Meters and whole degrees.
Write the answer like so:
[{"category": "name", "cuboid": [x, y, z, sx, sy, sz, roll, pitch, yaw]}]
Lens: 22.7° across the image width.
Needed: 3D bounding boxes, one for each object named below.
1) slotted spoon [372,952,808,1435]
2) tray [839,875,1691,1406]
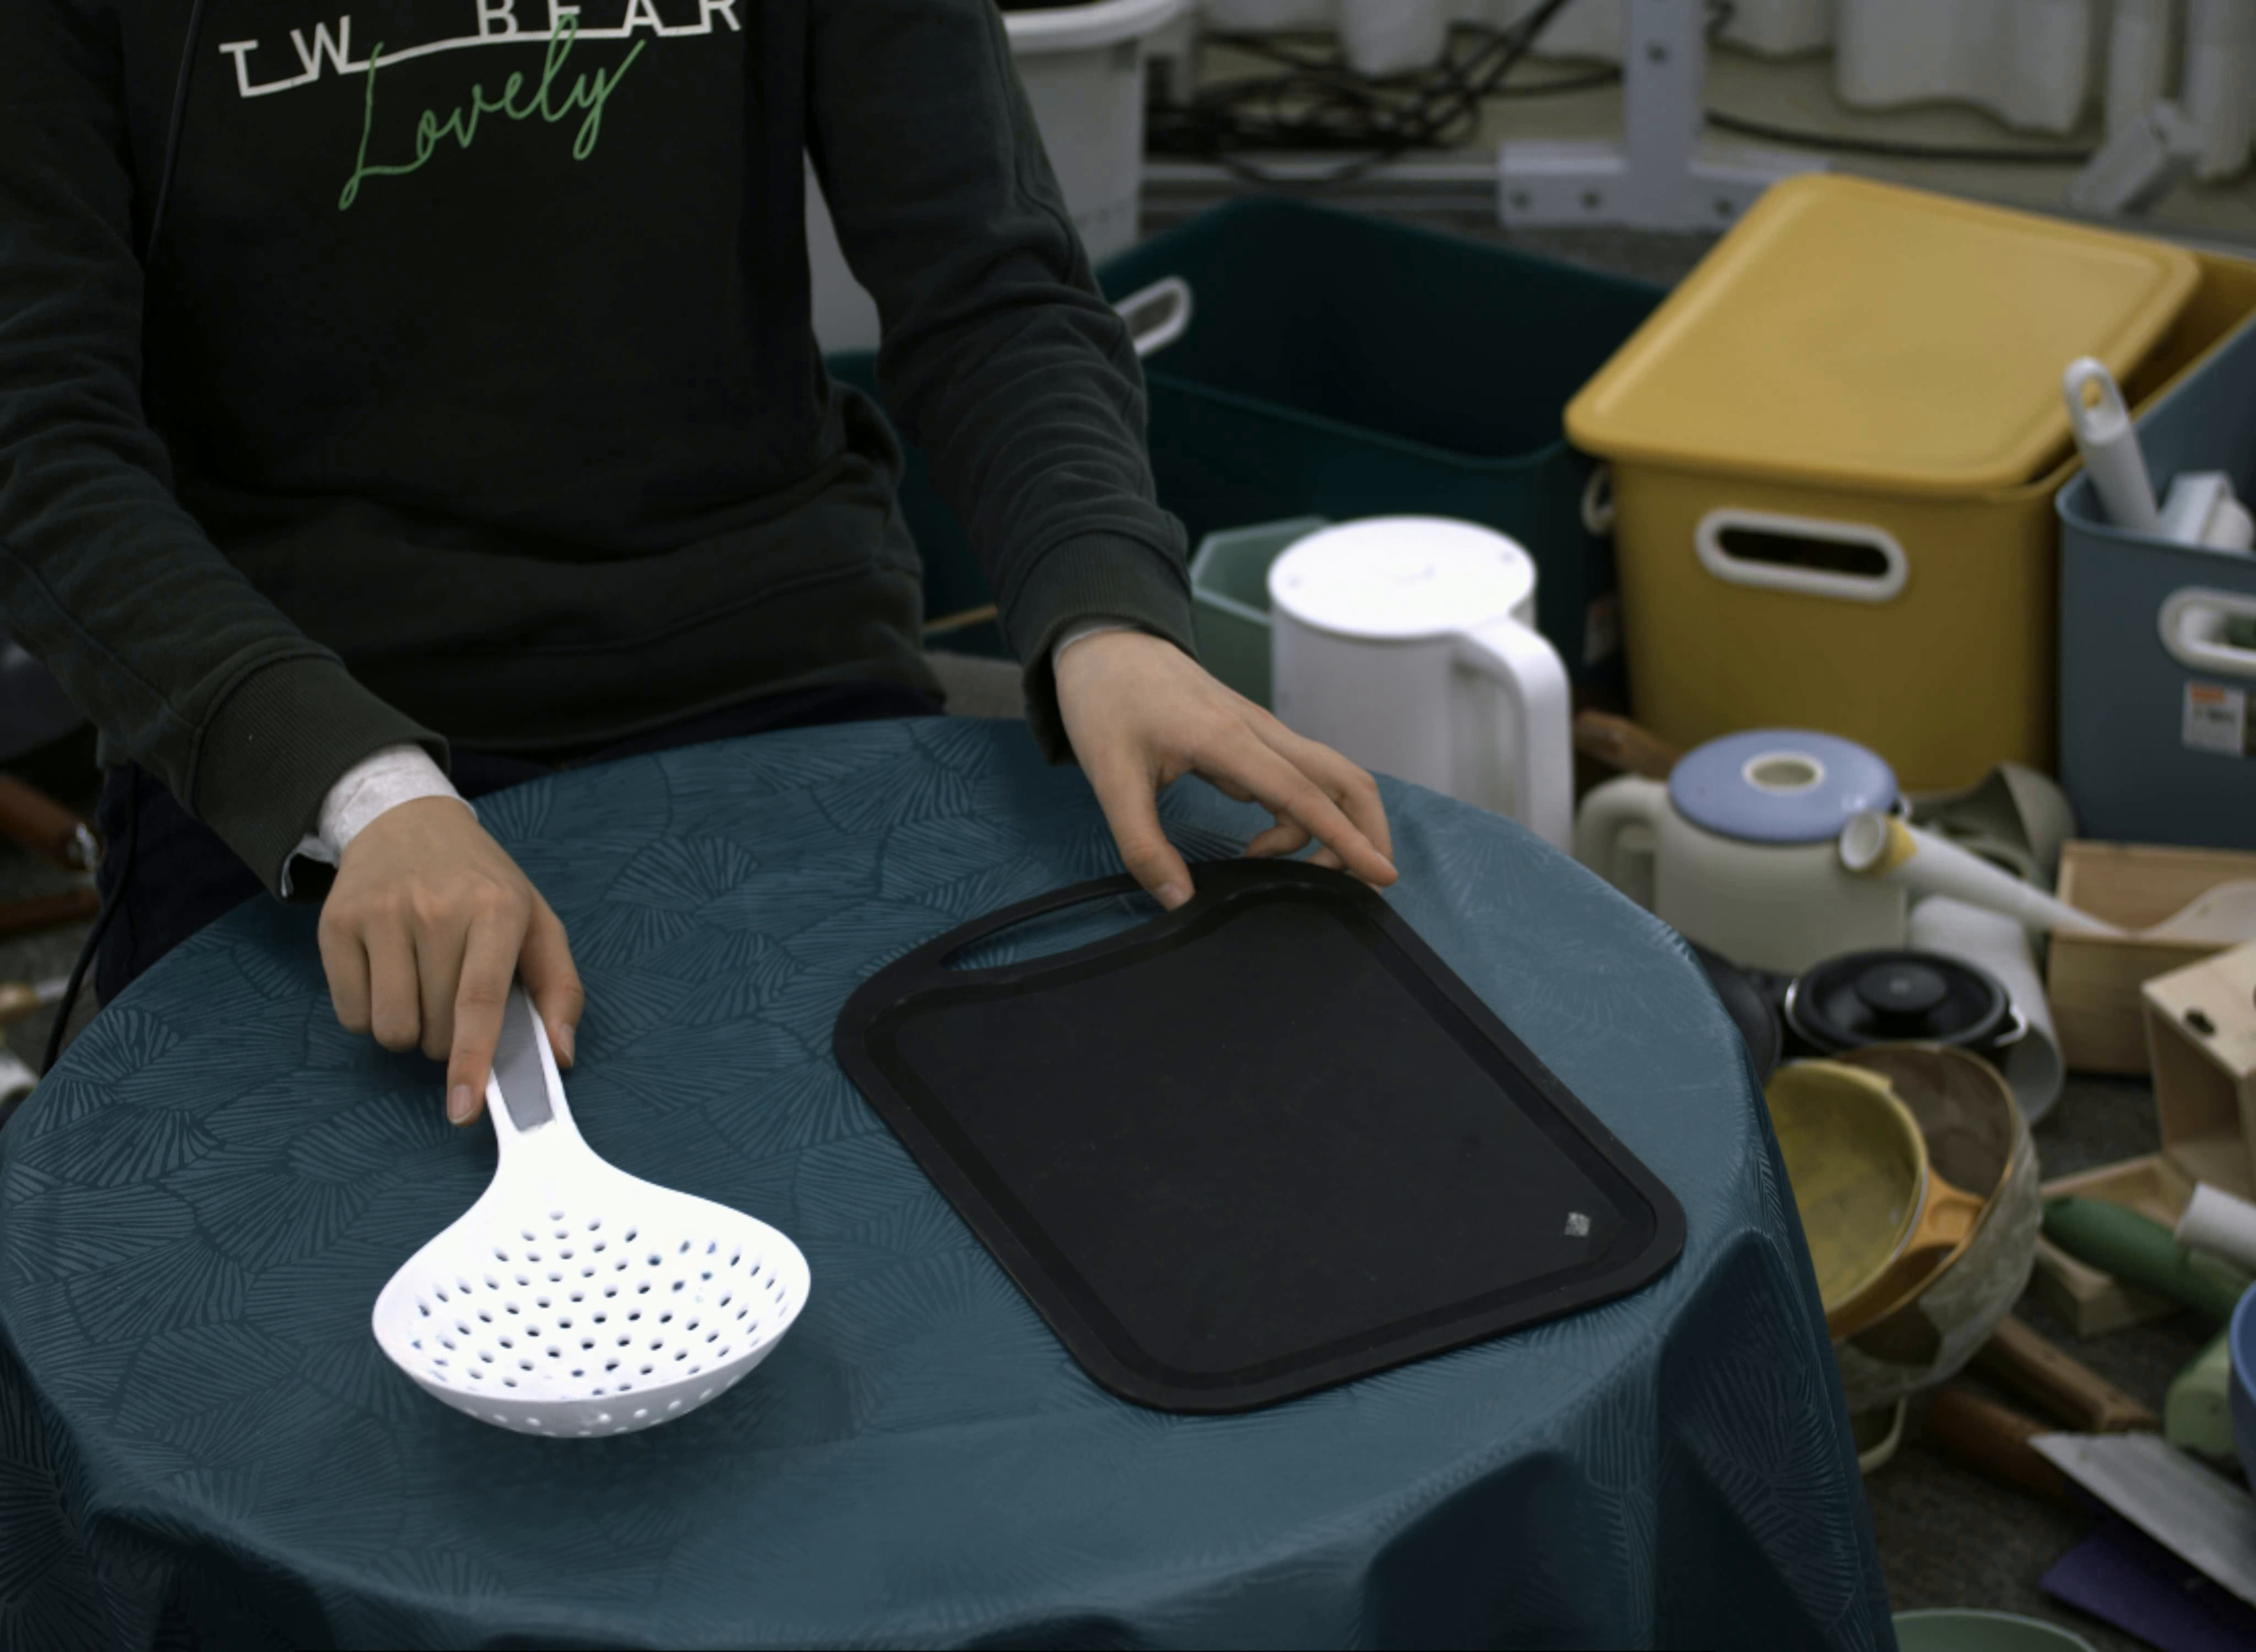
[{"category": "slotted spoon", "cuboid": [-0.190, 0.114, 1.846, 0.136, 0.045, 0.353, -7, 26, -11]}, {"category": "tray", "cuboid": [0.036, 0.096, 1.894, 0.212, 0.009, 0.328, -15, 30, -19]}]
